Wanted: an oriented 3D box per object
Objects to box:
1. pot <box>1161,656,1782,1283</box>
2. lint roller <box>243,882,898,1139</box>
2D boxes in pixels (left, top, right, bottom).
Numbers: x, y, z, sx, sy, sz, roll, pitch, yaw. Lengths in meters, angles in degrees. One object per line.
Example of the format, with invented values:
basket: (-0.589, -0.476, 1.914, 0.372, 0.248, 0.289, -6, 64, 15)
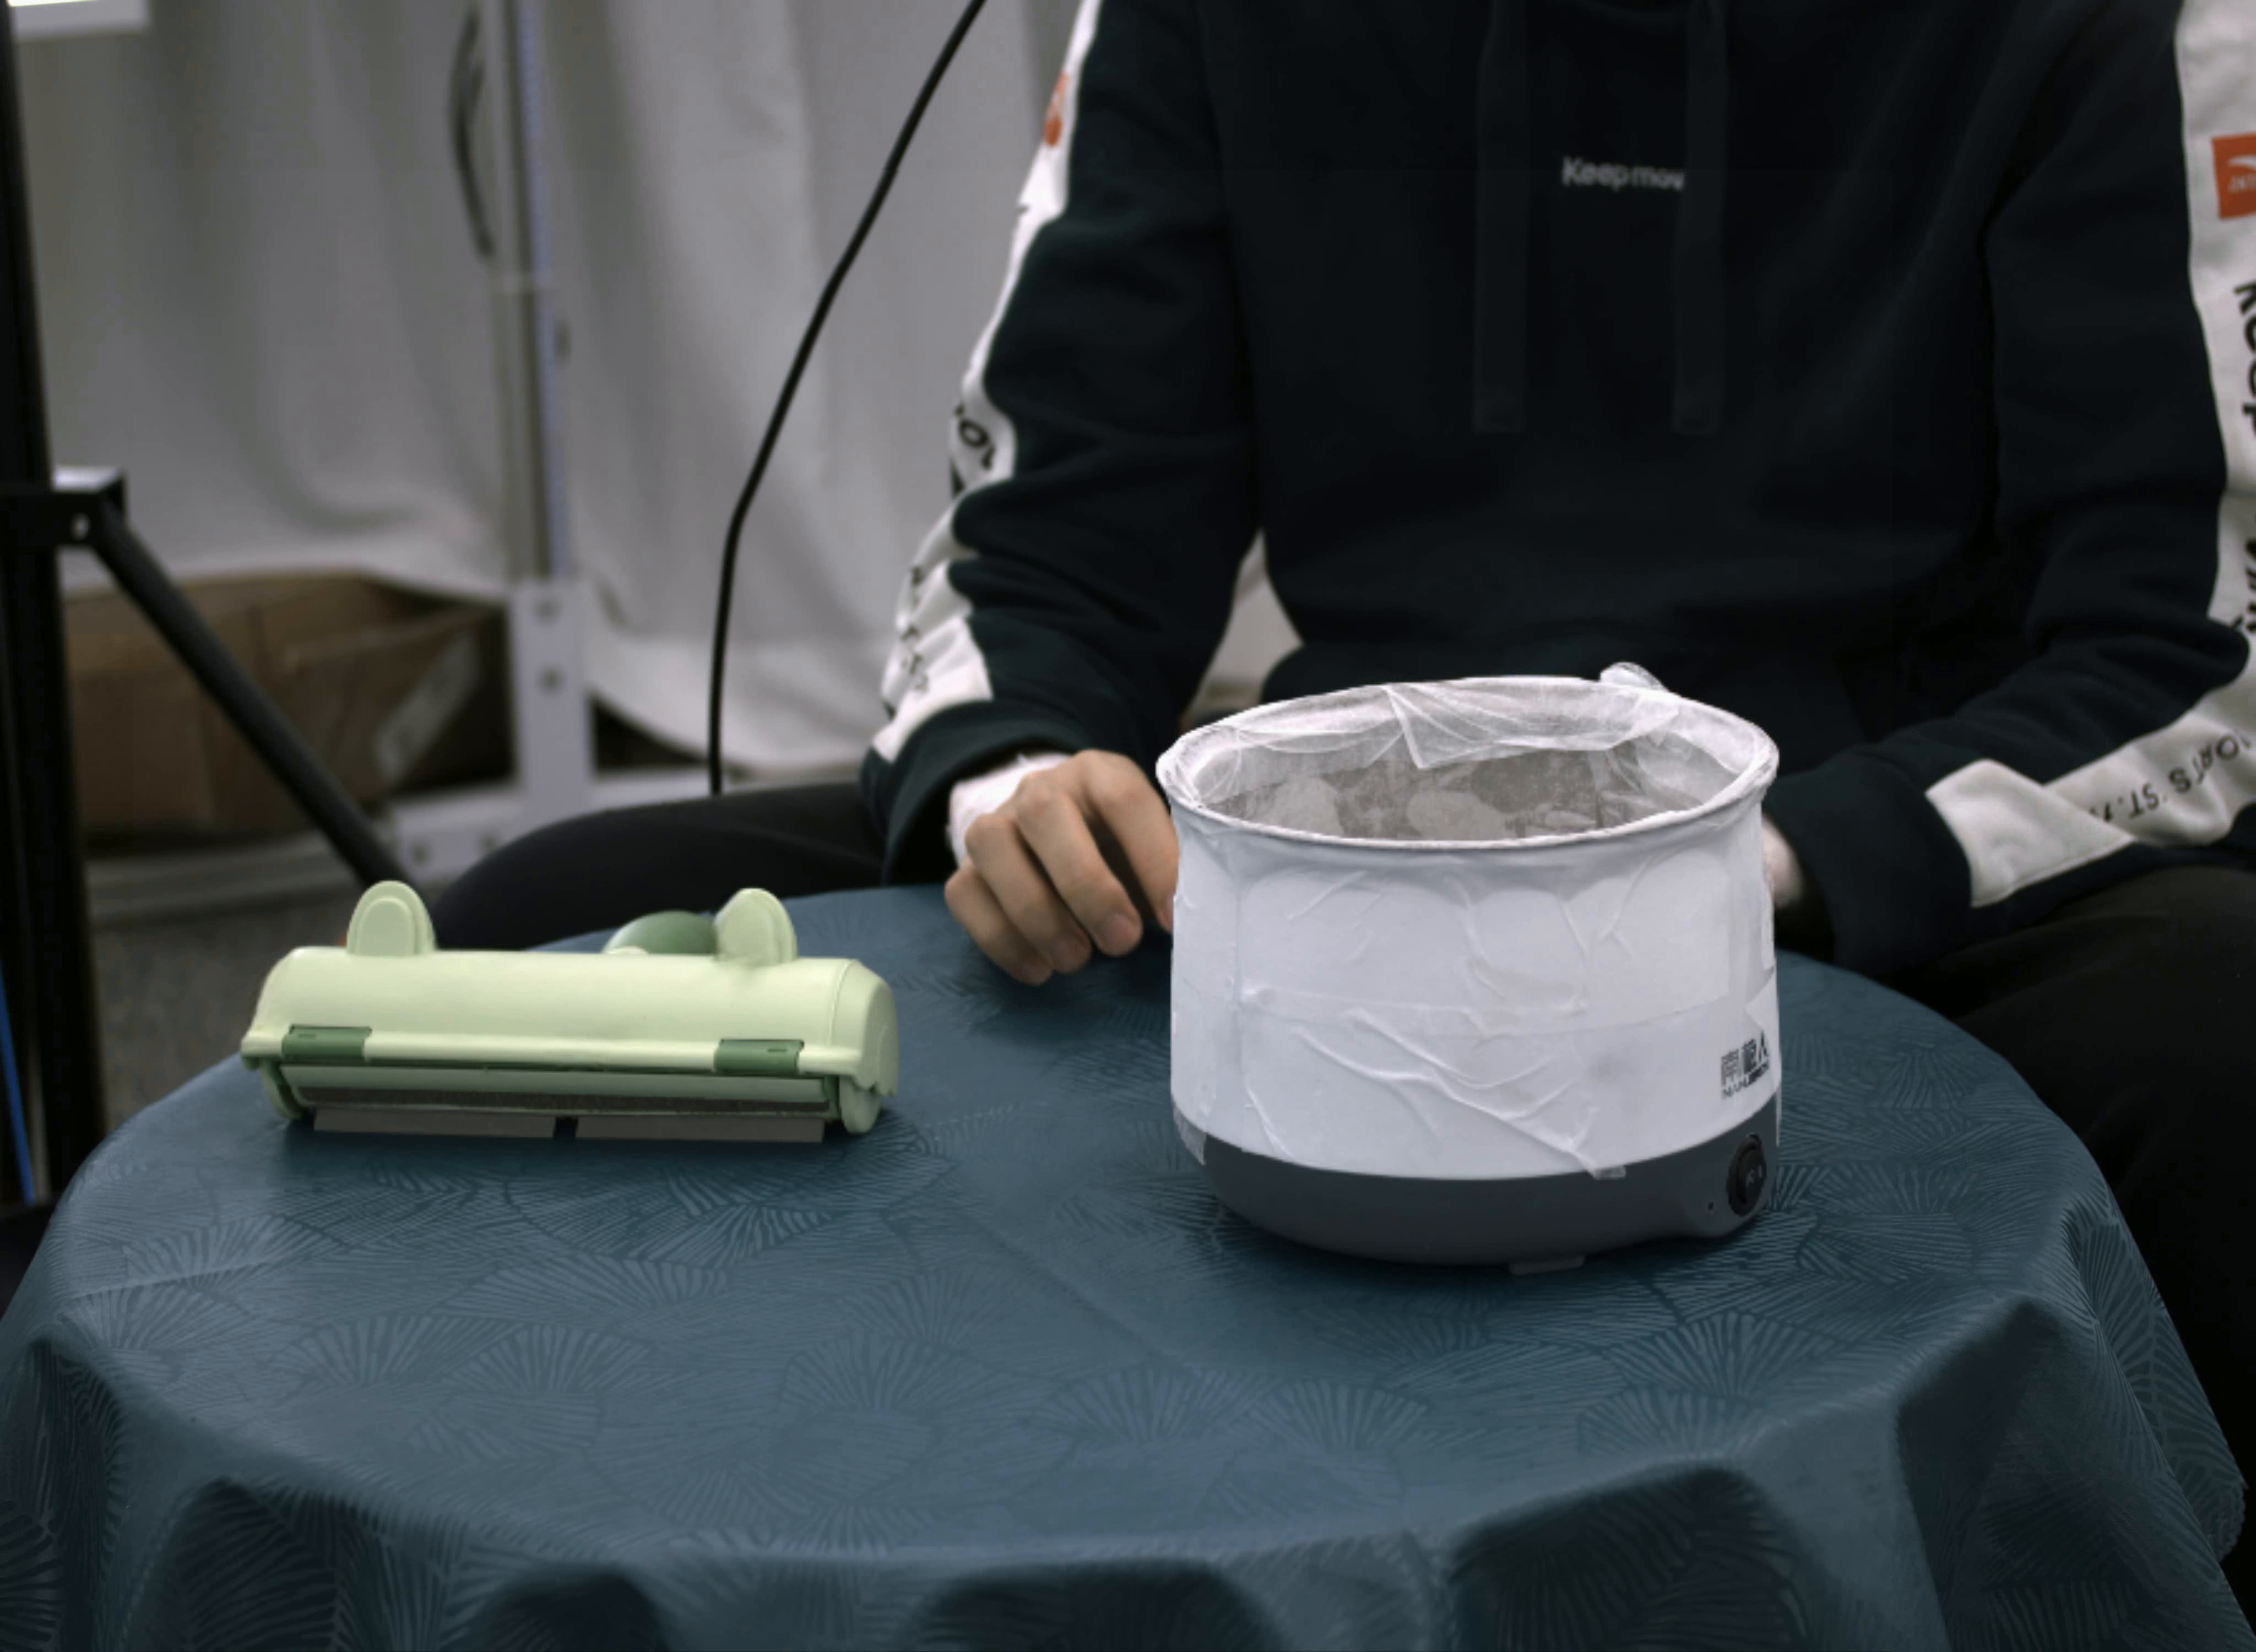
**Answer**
pot: (0.113, 0.034, 1.544, 0.182, 0.136, 0.229, 8, 20, 31)
lint roller: (-0.160, 0.040, 1.688, 0.200, 0.082, 0.182, 0, 21, 13)
